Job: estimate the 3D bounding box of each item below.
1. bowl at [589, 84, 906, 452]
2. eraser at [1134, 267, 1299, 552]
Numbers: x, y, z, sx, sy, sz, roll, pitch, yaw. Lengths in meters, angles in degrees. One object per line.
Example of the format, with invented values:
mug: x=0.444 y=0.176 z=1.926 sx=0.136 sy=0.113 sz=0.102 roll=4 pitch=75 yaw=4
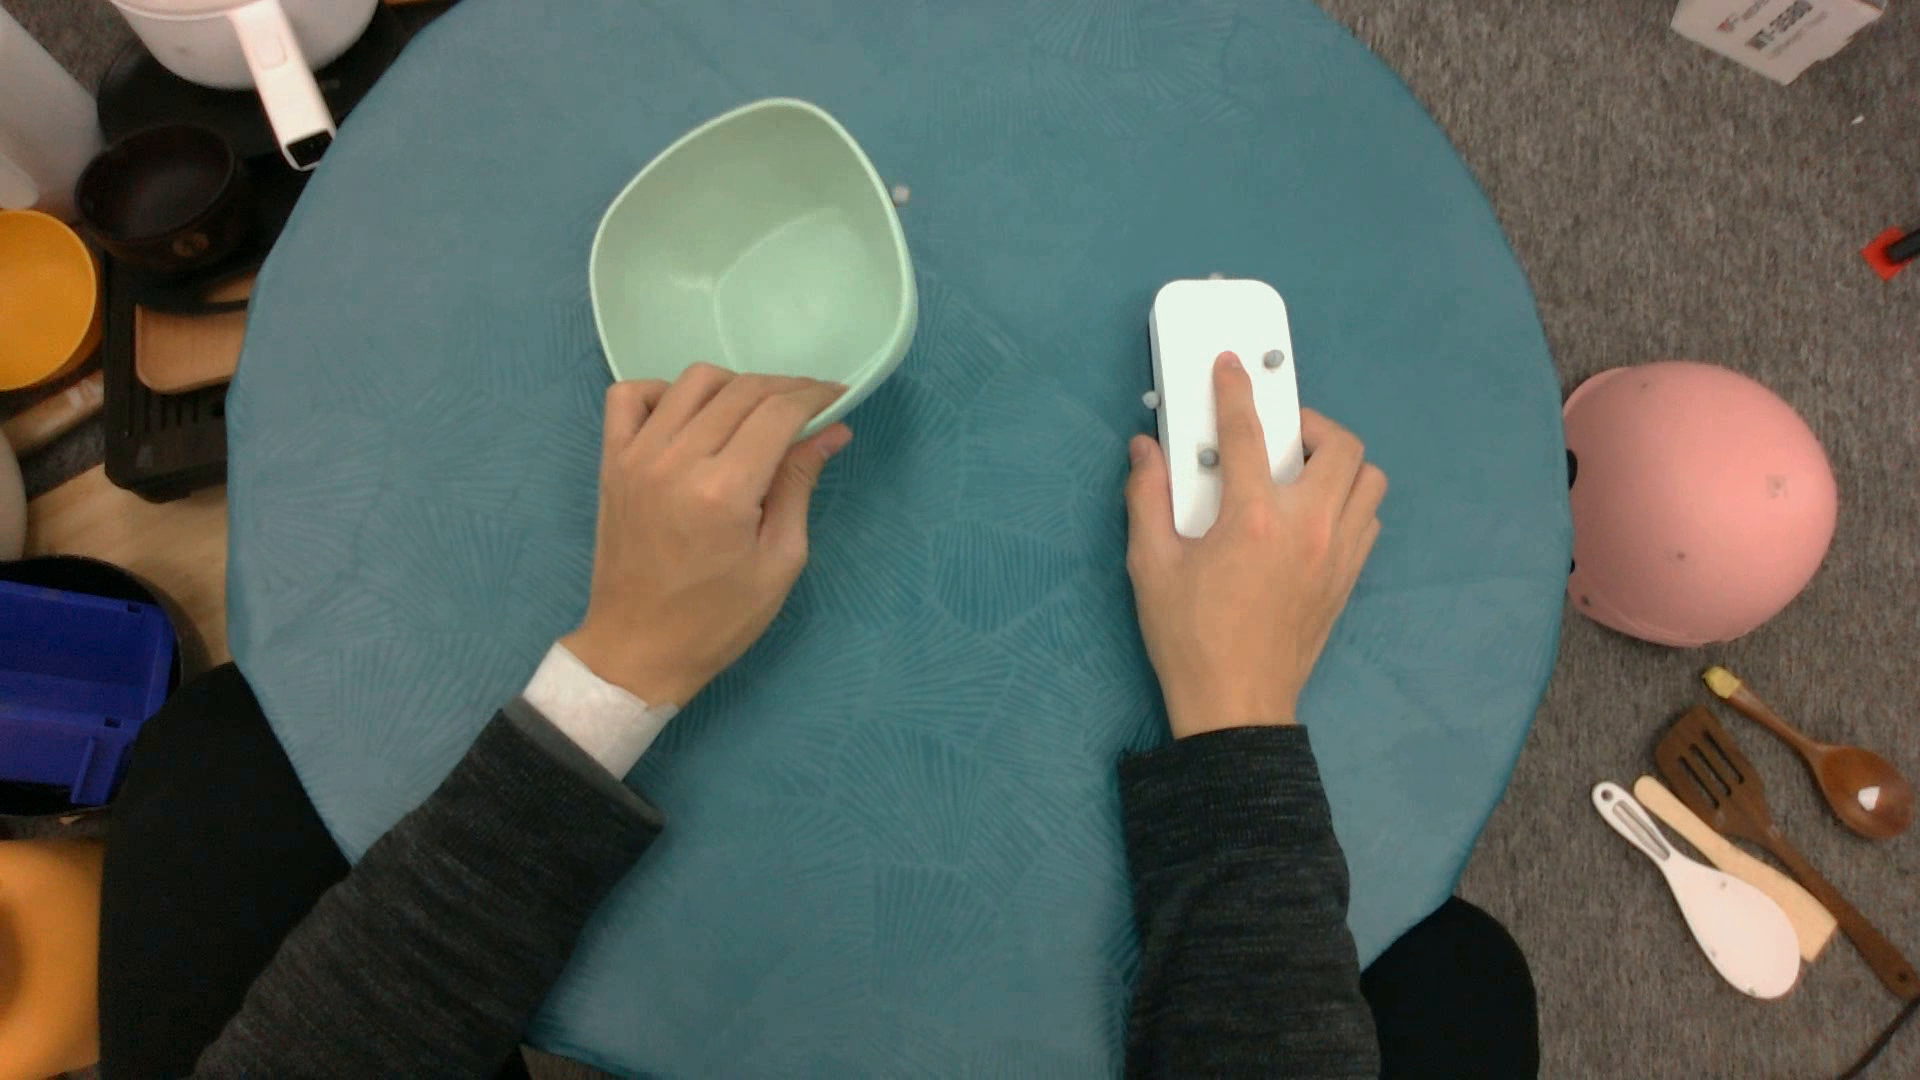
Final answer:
bowl: x=-0.078 y=-0.106 z=0.571 sx=0.151 sy=0.059 sz=0.151 roll=-3 pitch=82 yaw=26
eraser: x=0.111 y=-0.059 z=0.615 sx=0.063 sy=0.034 sz=0.131 roll=-2 pitch=76 yaw=-9
